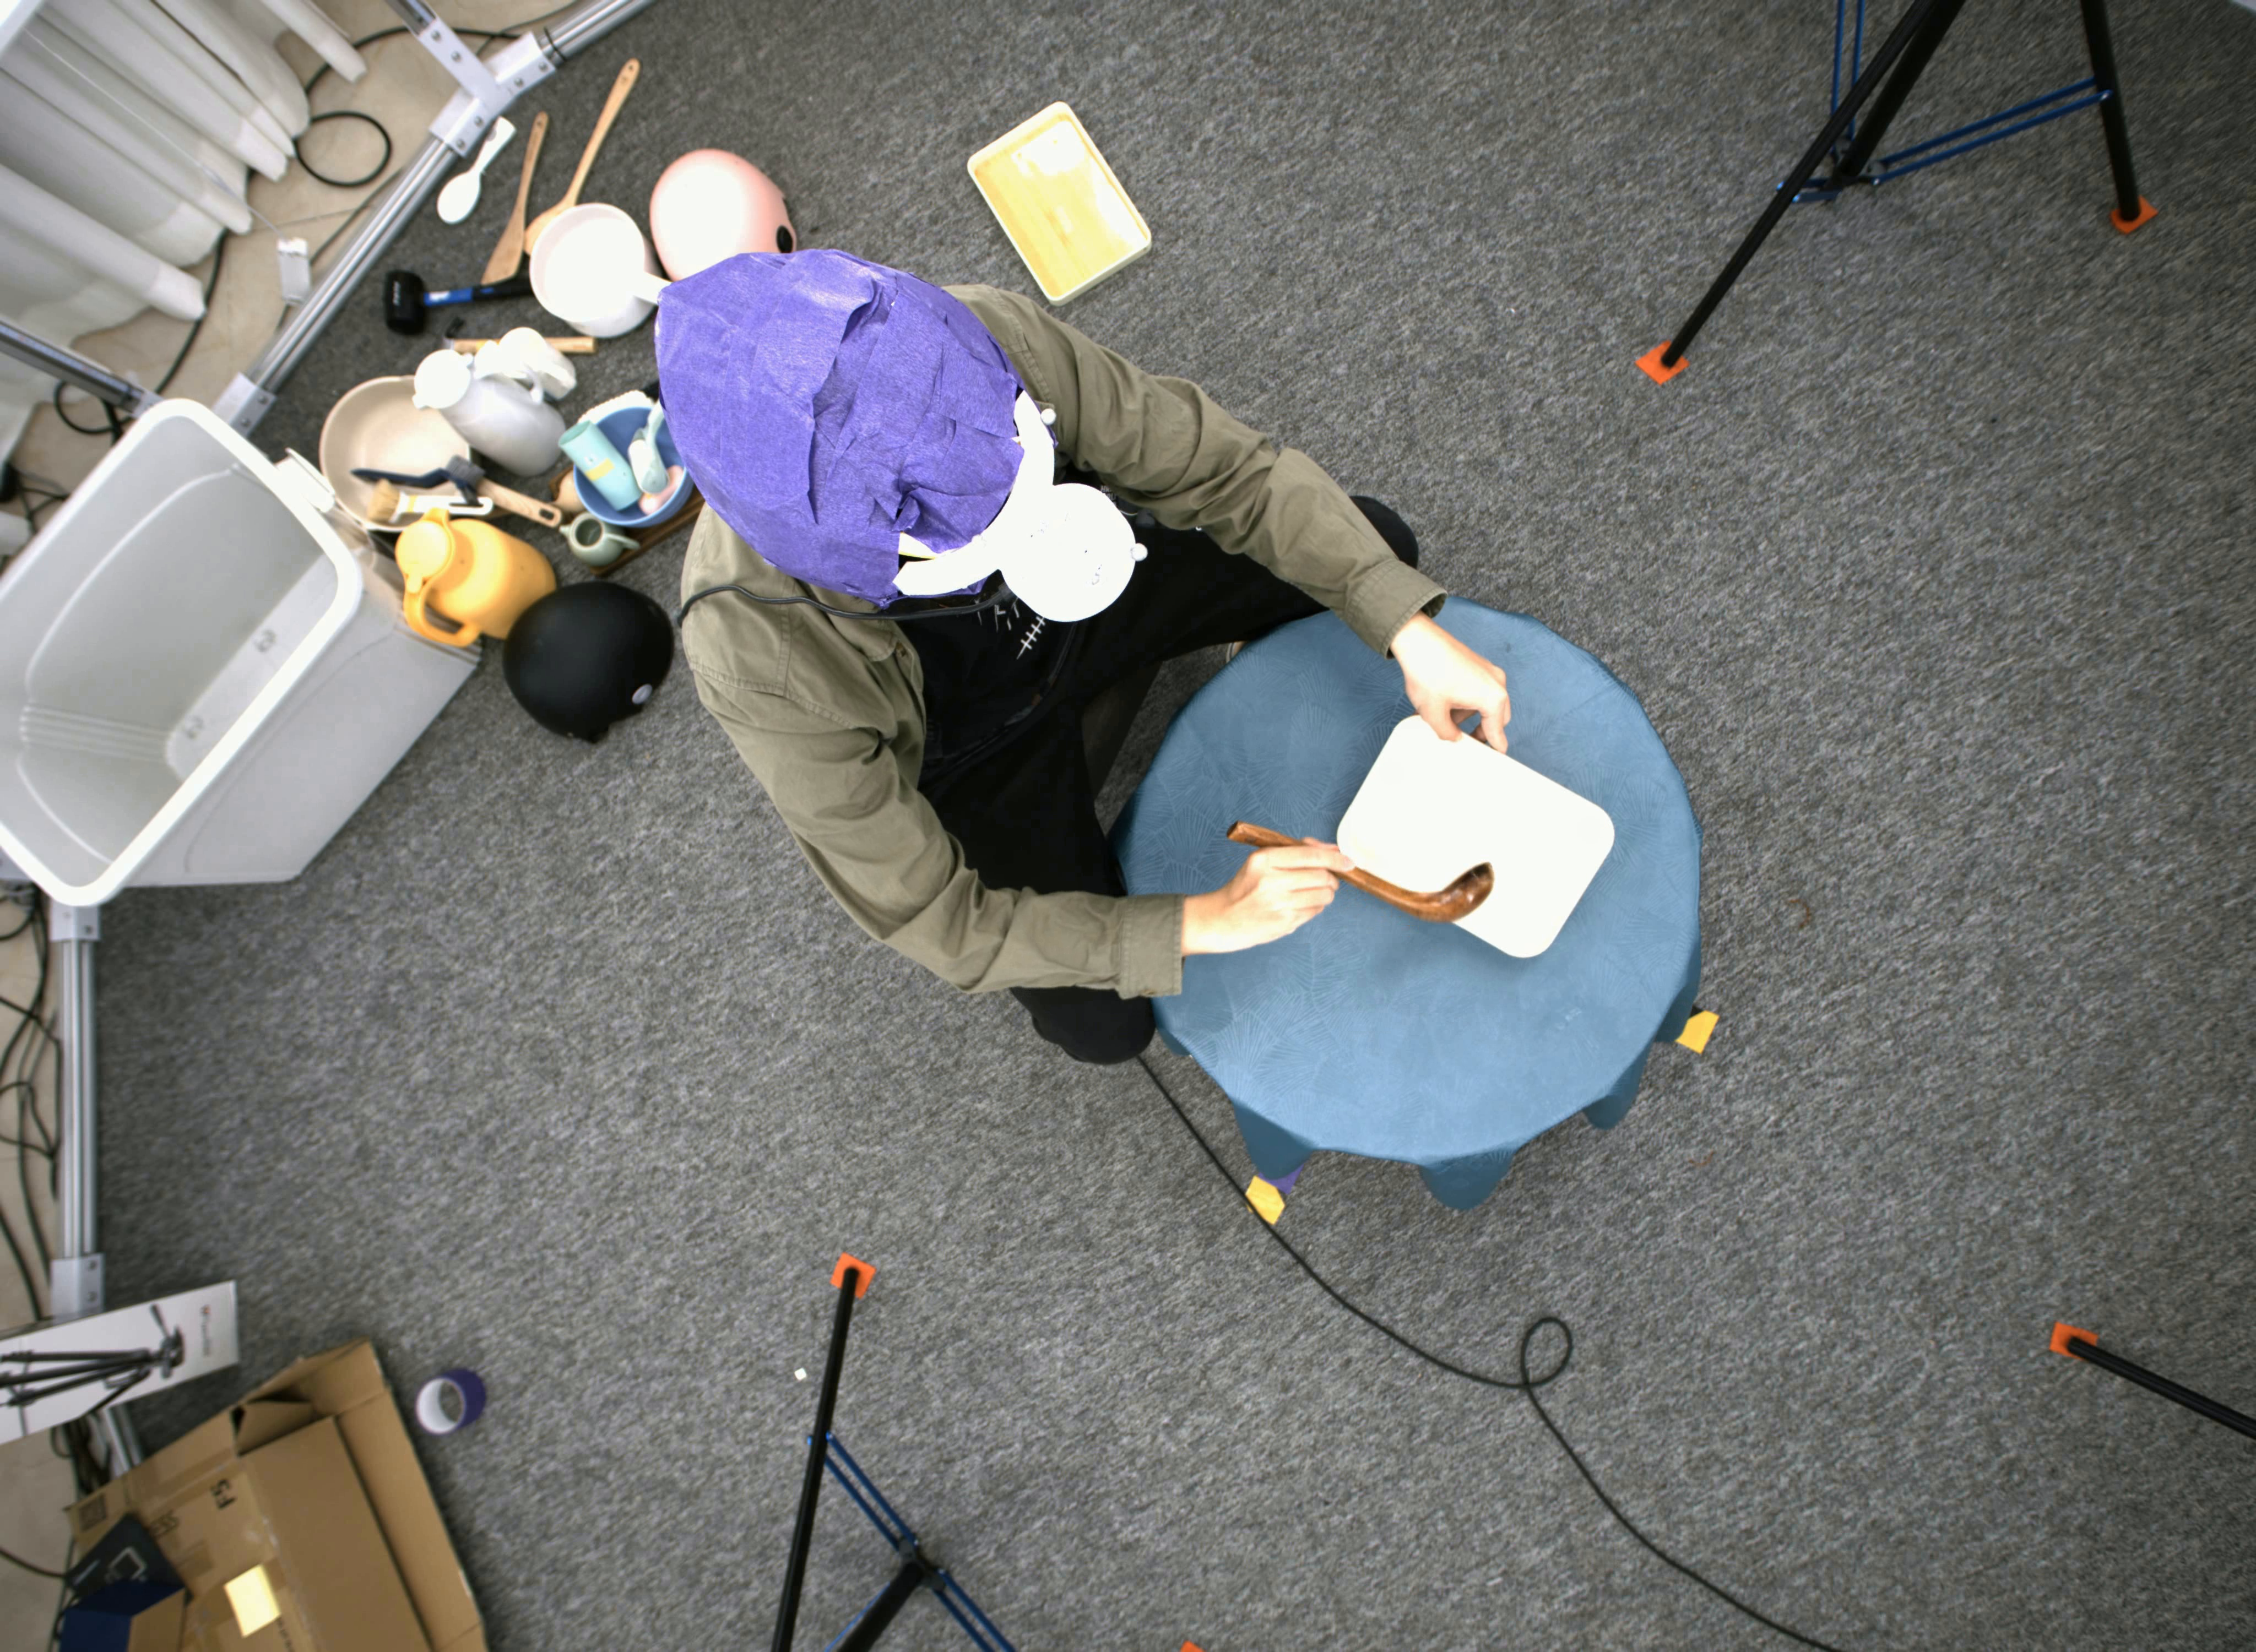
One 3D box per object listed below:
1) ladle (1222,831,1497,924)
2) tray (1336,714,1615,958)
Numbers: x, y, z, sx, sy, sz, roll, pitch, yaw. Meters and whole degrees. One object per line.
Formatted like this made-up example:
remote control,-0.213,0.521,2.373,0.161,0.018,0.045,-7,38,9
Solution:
ladle,0.218,0.027,1.282,0.274,0.084,0.075,20,58,-14
tray,0.339,0.008,1.354,0.239,0.017,0.174,30,107,7
